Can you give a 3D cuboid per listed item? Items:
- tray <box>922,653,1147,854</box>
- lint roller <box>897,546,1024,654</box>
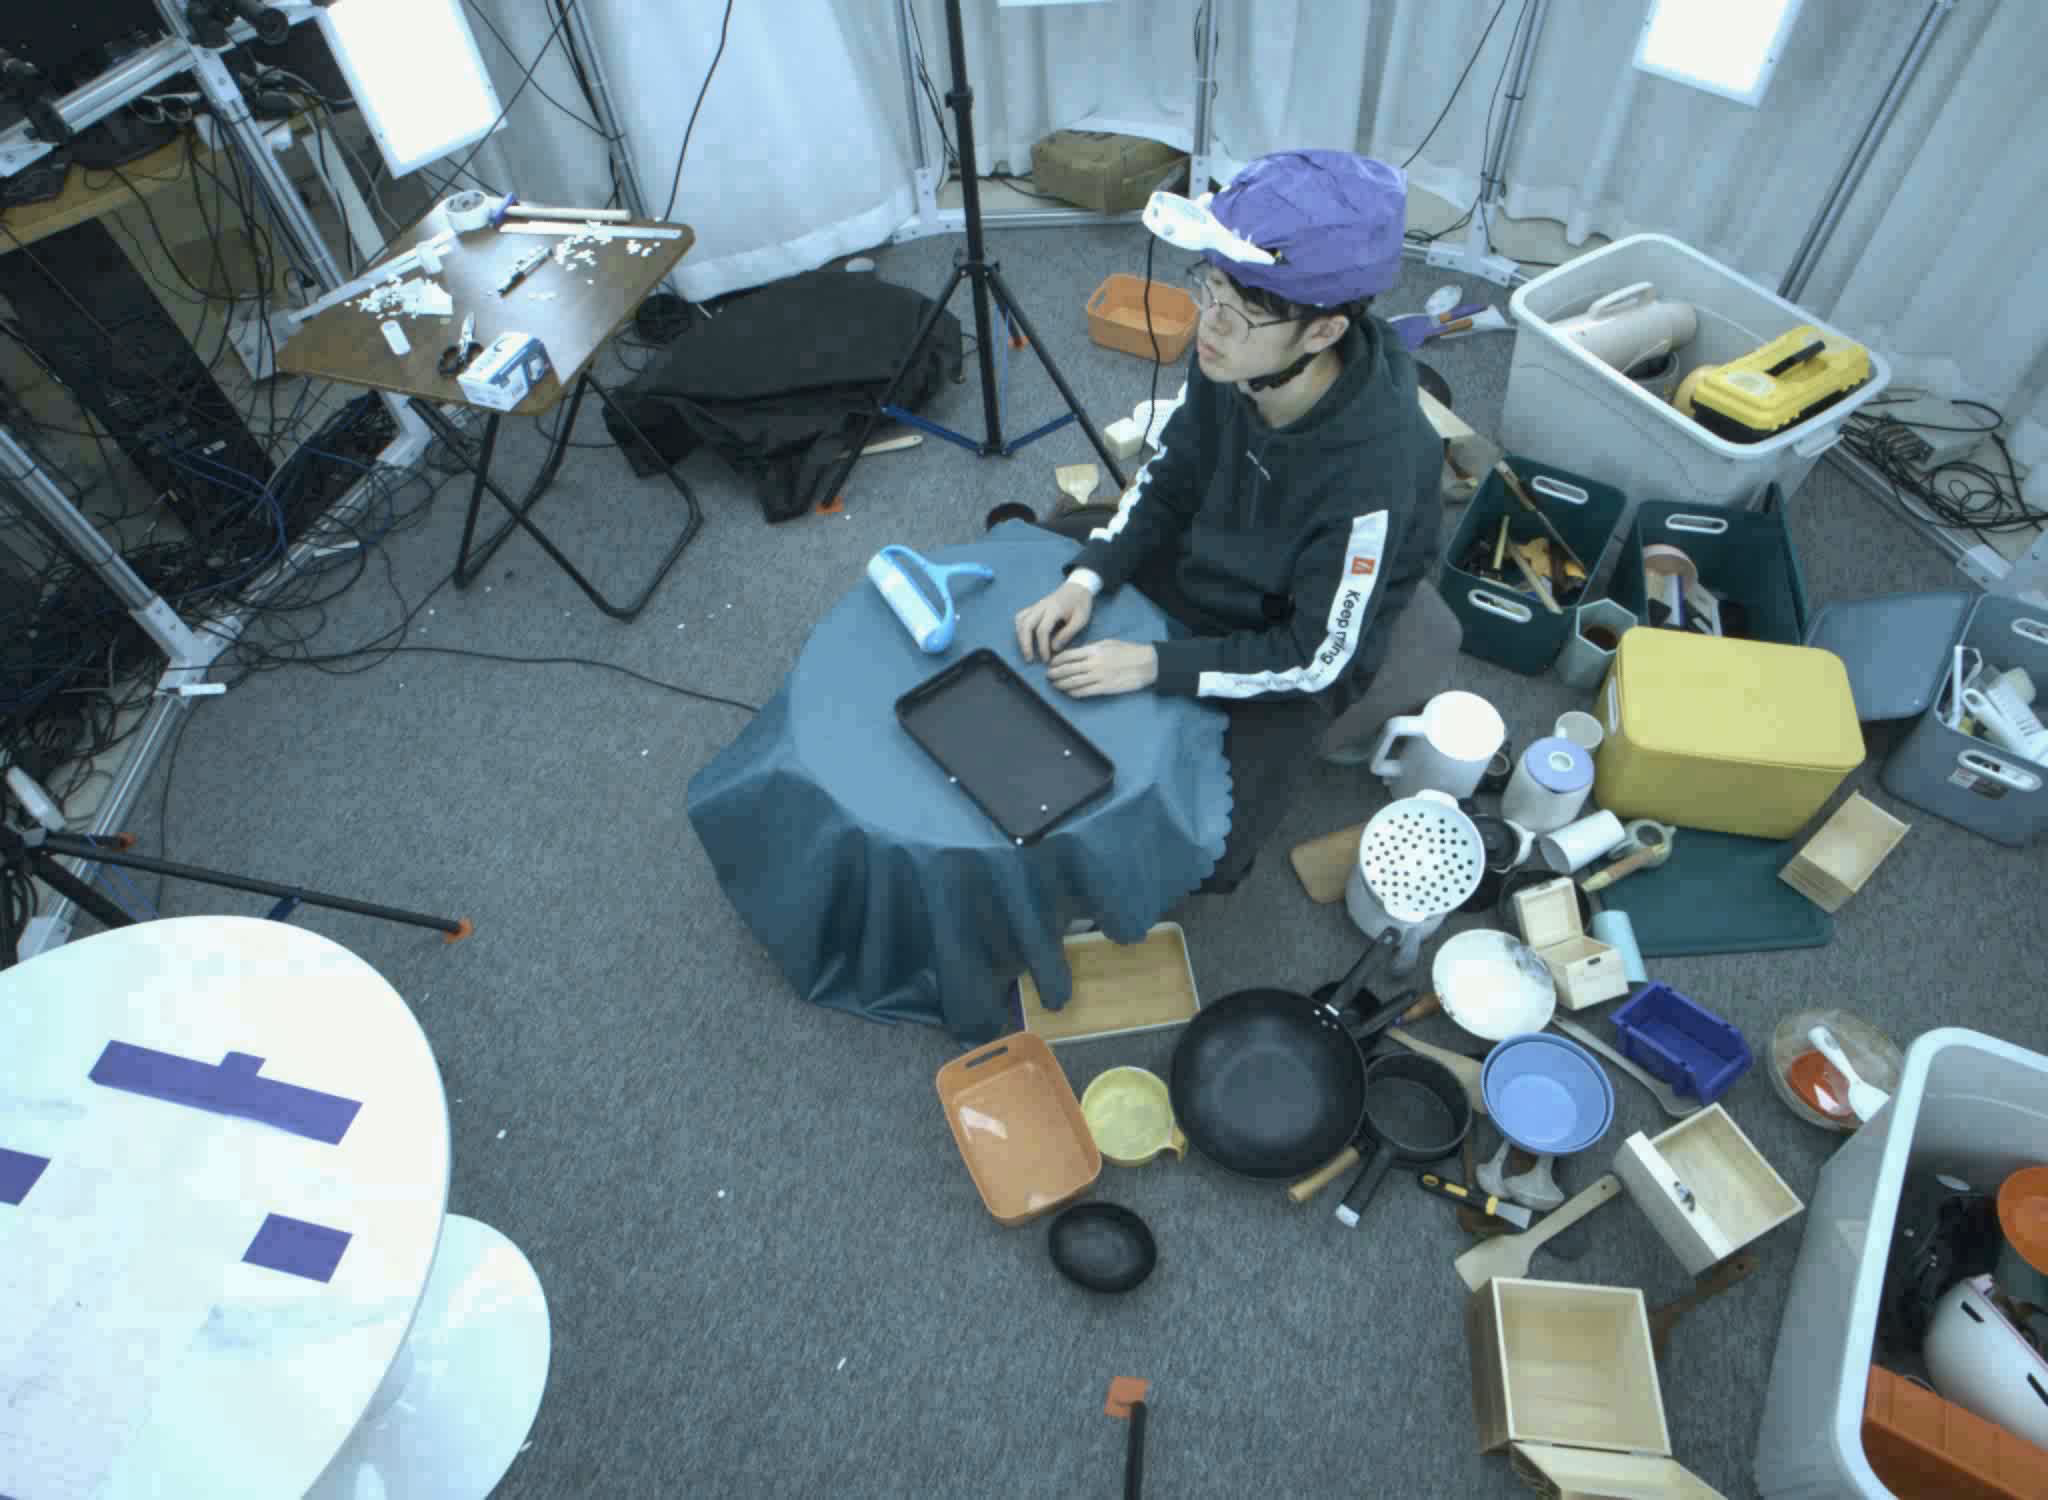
[{"bbox_3d":[0.012,-0.001,1.762,0.186,0.037,0.312,-34,59,-20],"label":"tray"},{"bbox_3d":[-0.084,-0.260,1.936,0.181,0.069,0.224,-29,56,-15],"label":"lint roller"}]
